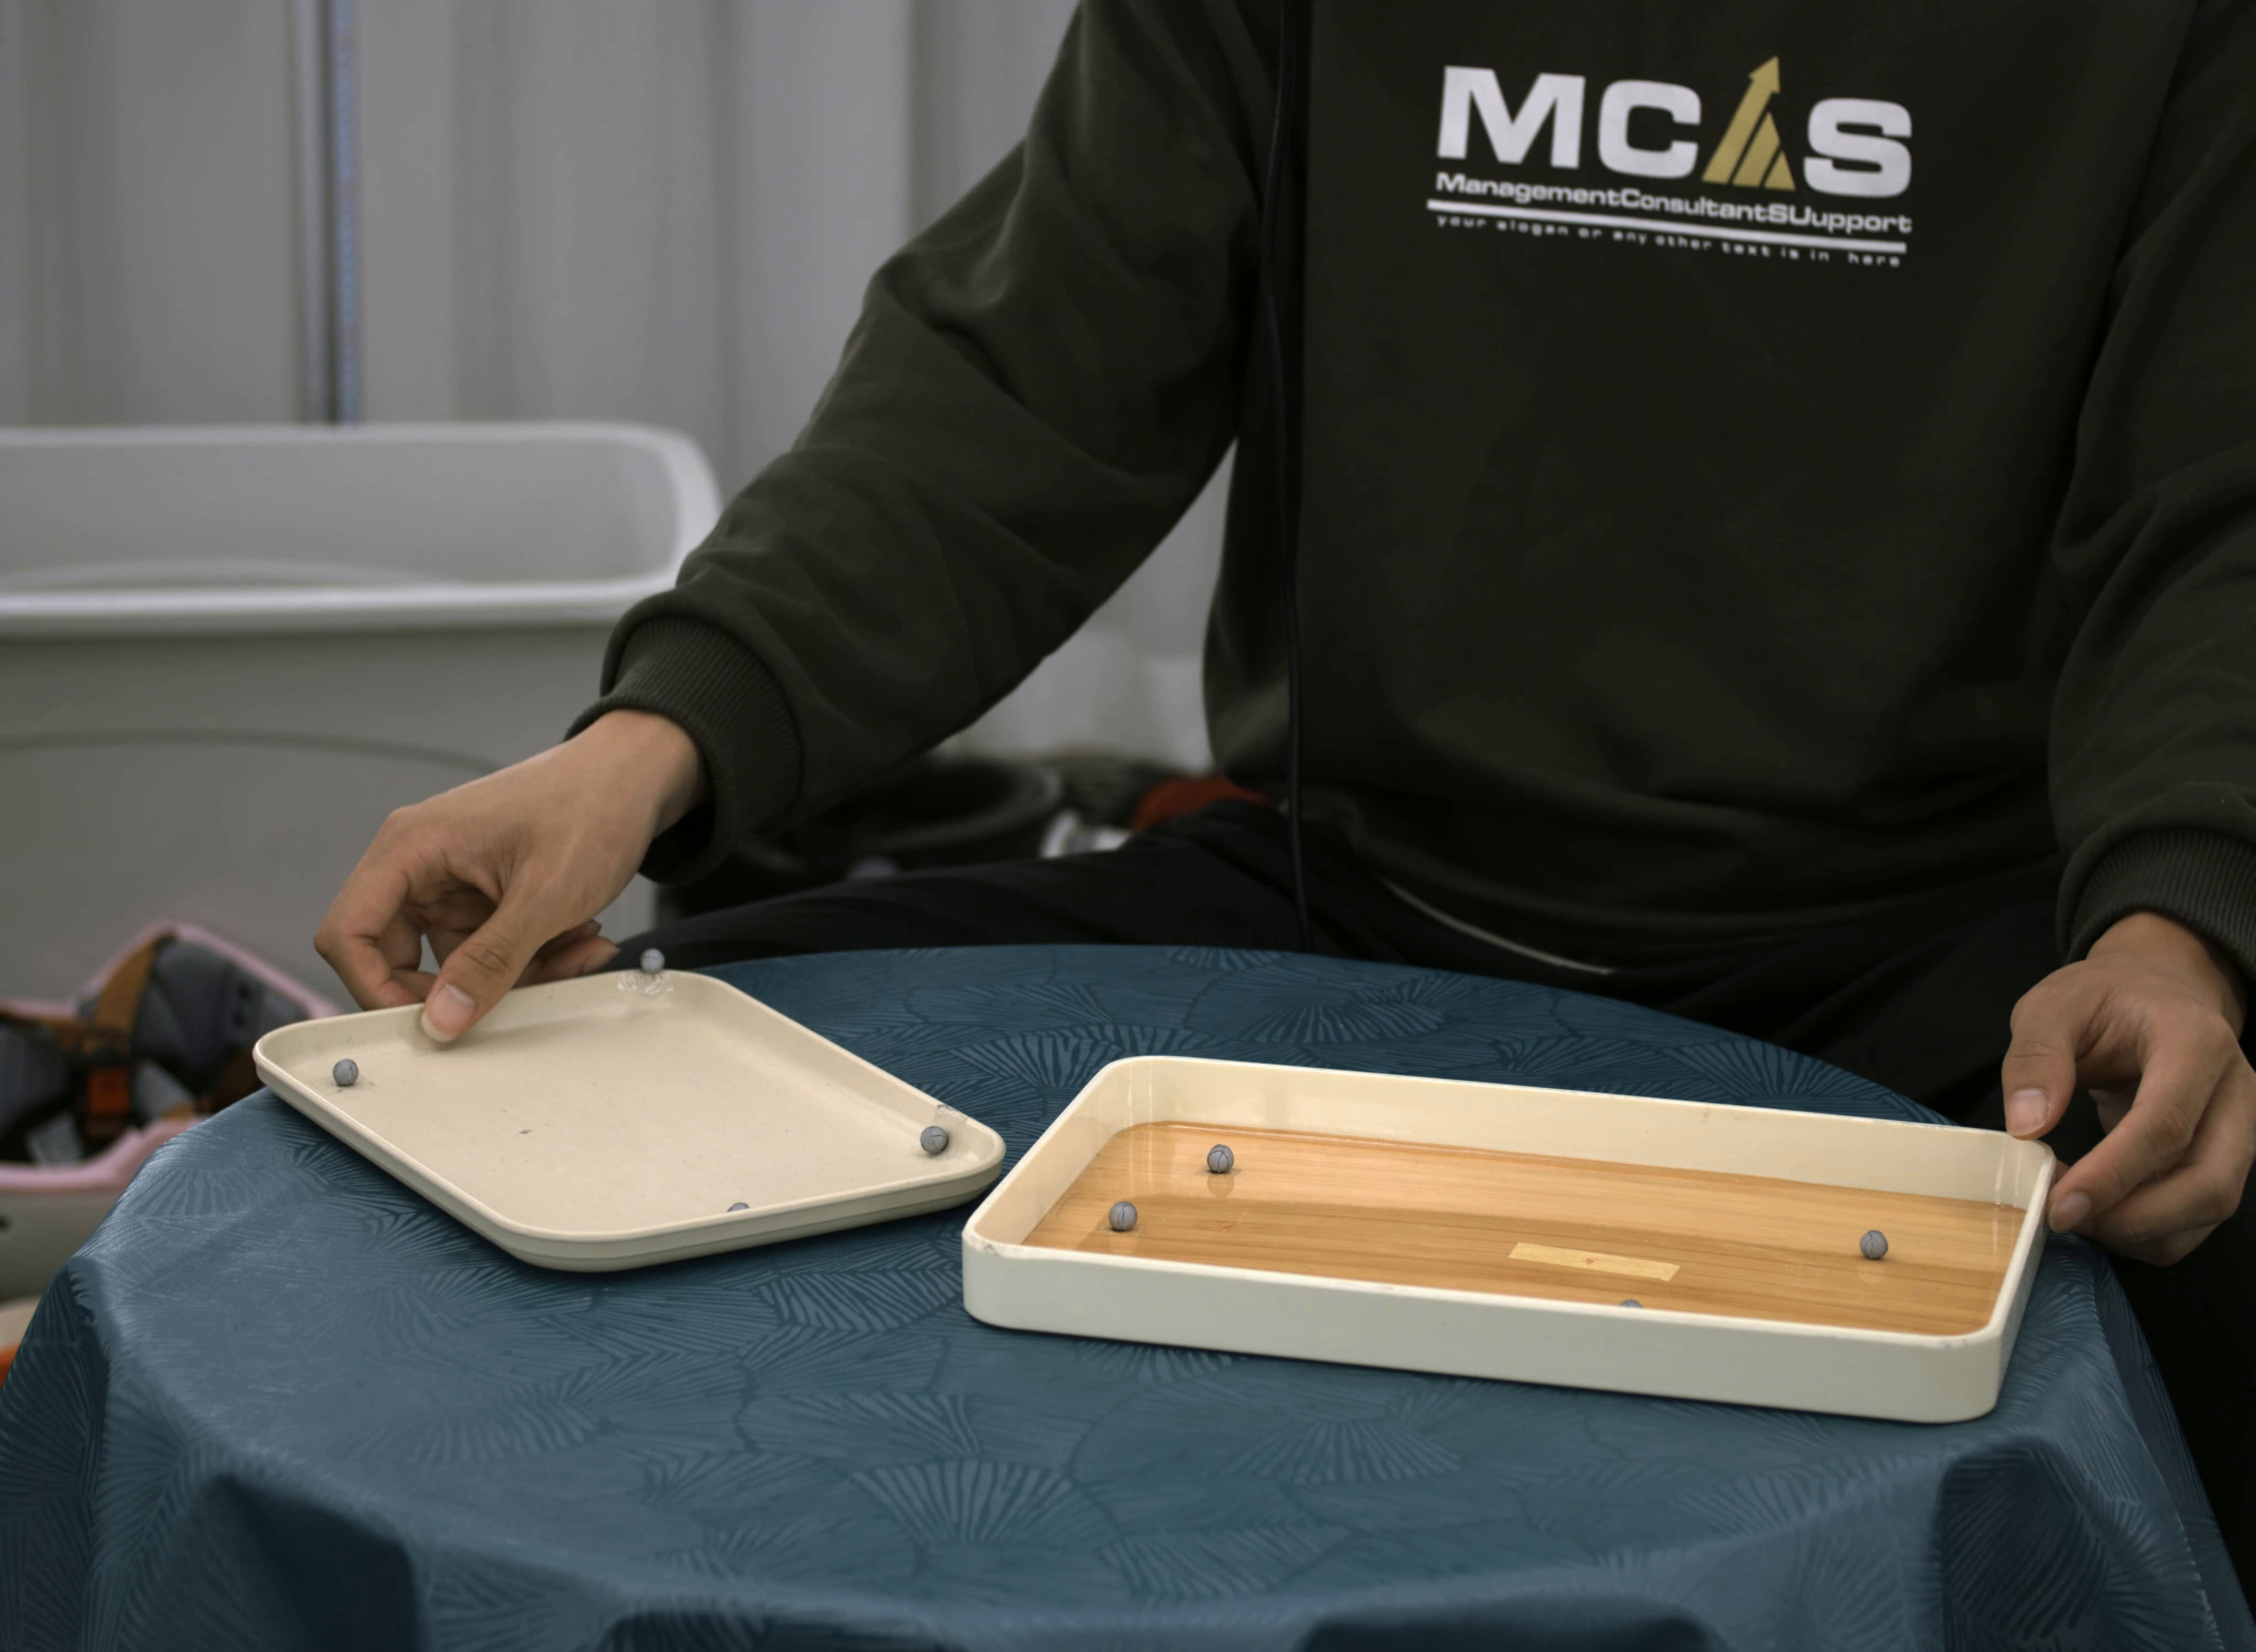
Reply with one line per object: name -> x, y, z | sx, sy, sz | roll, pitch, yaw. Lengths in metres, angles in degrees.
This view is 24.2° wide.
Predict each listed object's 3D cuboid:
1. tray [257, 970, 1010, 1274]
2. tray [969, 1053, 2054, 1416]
tray -> -0.159, 0.092, 1.663 | 0.172, 0.017, 0.236 | -9, 18, -31
tray -> 0.118, 0.118, 1.566 | 0.298, 0.027, 0.191 | 5, 16, 13
